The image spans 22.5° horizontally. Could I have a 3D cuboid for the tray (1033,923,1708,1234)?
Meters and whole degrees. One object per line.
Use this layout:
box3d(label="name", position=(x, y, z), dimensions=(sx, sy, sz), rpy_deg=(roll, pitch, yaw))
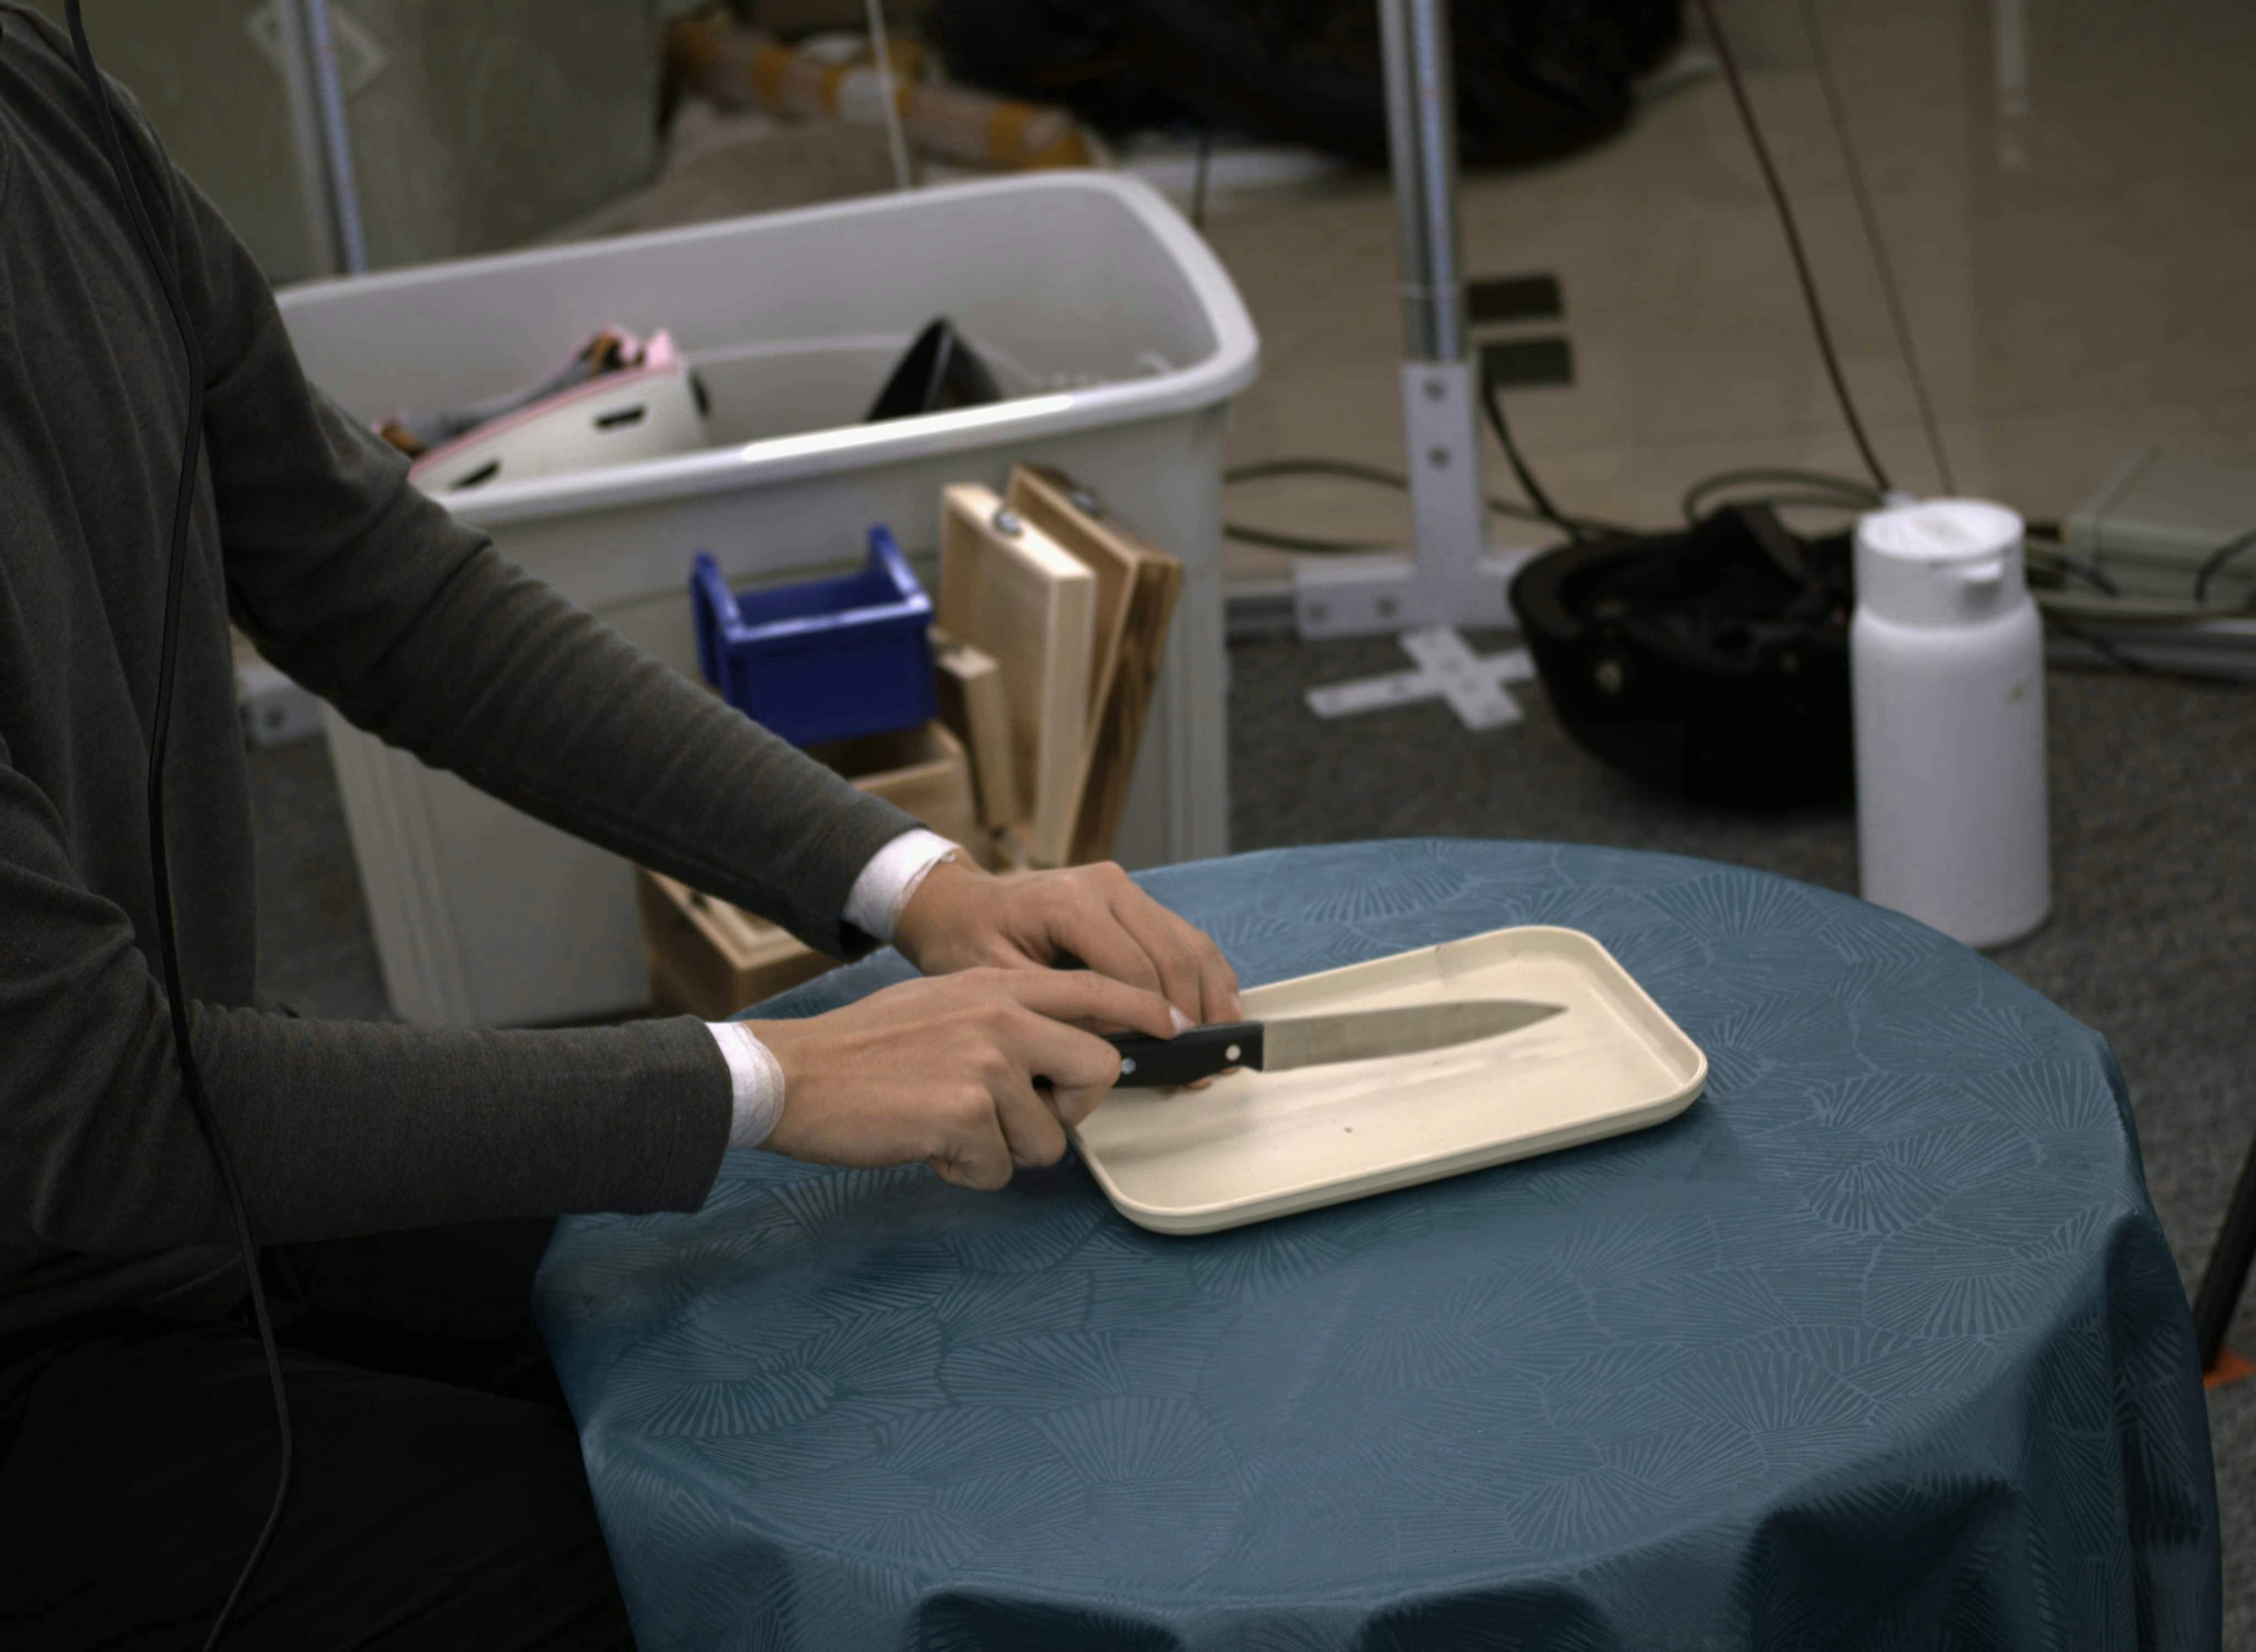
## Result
box3d(label="tray", position=(0.092, 0.098, 2.196), dimensions=(0.239, 0.018, 0.169), rpy_deg=(-12, 26, -12))

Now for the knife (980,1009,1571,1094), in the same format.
box3d(label="knife", position=(0.059, 0.084, 2.178), dimensions=(0.238, 0.025, 0.016), rpy_deg=(-4, 23, -16))
